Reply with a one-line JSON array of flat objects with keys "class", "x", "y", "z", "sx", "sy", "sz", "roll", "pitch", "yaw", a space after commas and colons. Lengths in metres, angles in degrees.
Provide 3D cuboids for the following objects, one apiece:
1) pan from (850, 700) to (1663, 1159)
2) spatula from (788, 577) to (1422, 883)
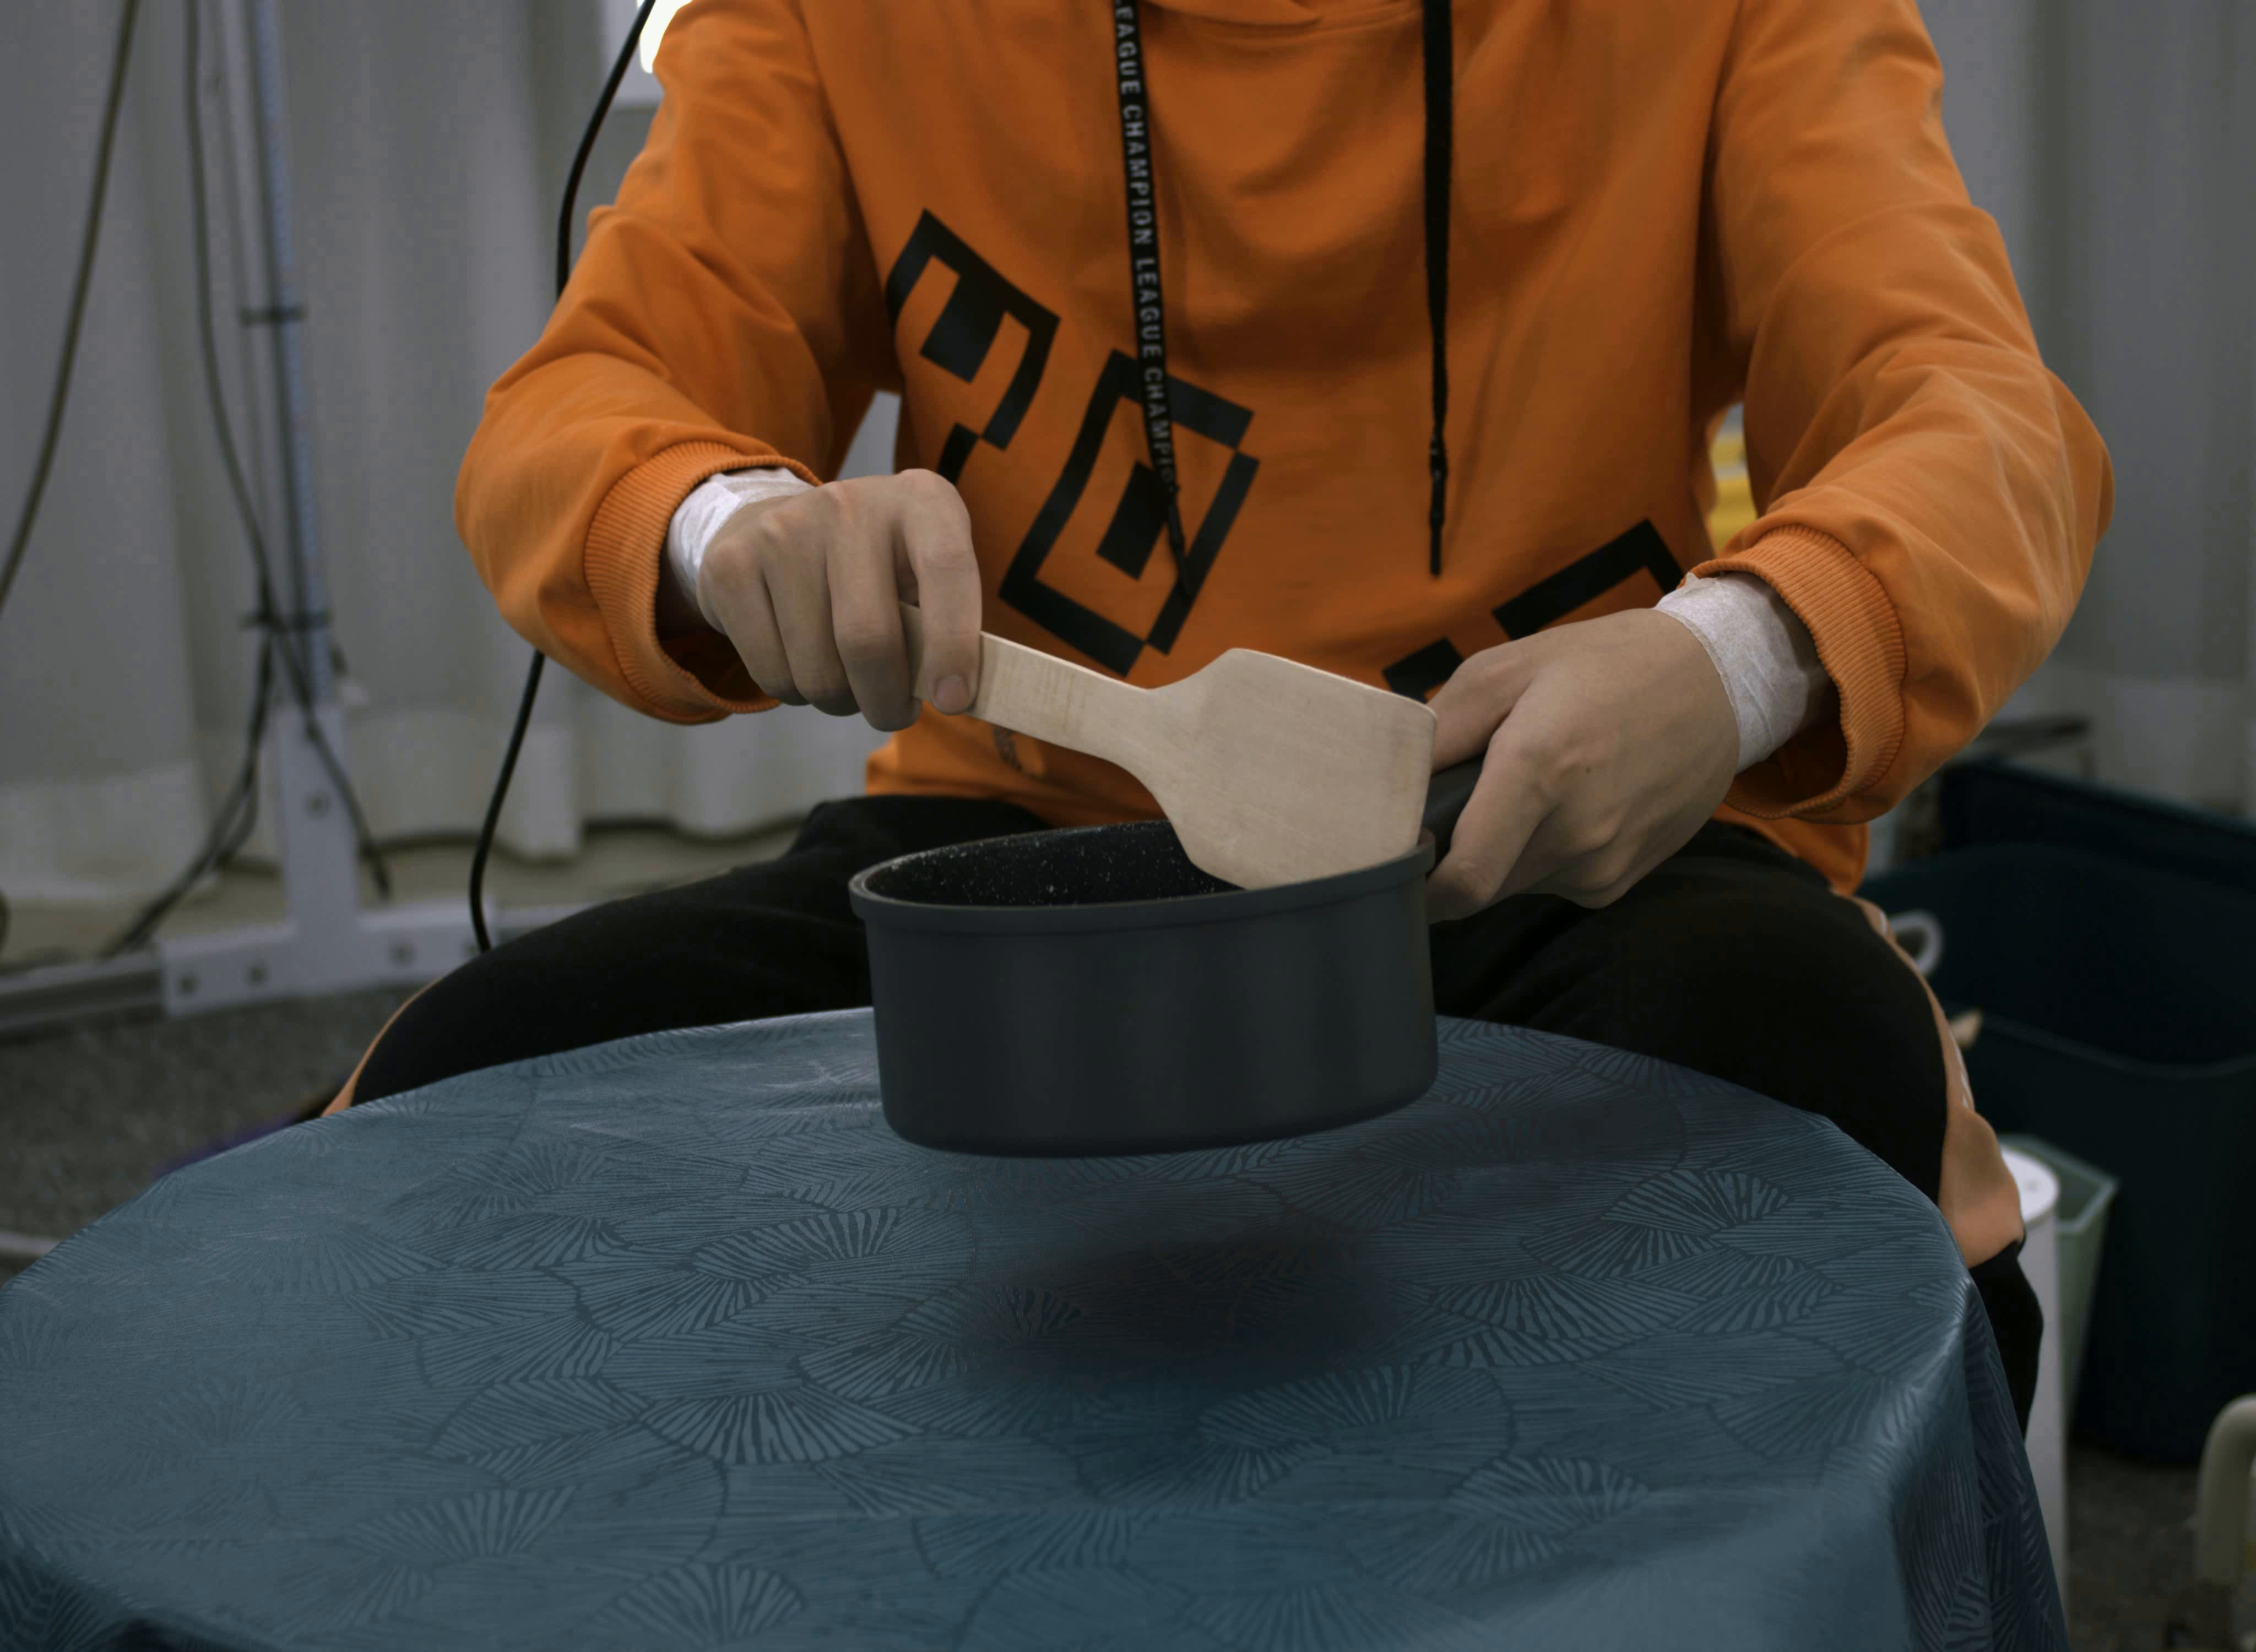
[{"class": "pan", "x": 0.057, "y": 0.030, "z": 1.651, "sx": 0.172, "sy": 0.086, "sz": 0.328, "roll": 3, "pitch": 12, "yaw": 40}, {"class": "spatula", "x": -0.016, "y": -0.037, "z": 1.676, "sx": 0.010, "sy": 0.072, "sz": 0.295, "roll": 1, "pitch": 13, "yaw": -41}]
